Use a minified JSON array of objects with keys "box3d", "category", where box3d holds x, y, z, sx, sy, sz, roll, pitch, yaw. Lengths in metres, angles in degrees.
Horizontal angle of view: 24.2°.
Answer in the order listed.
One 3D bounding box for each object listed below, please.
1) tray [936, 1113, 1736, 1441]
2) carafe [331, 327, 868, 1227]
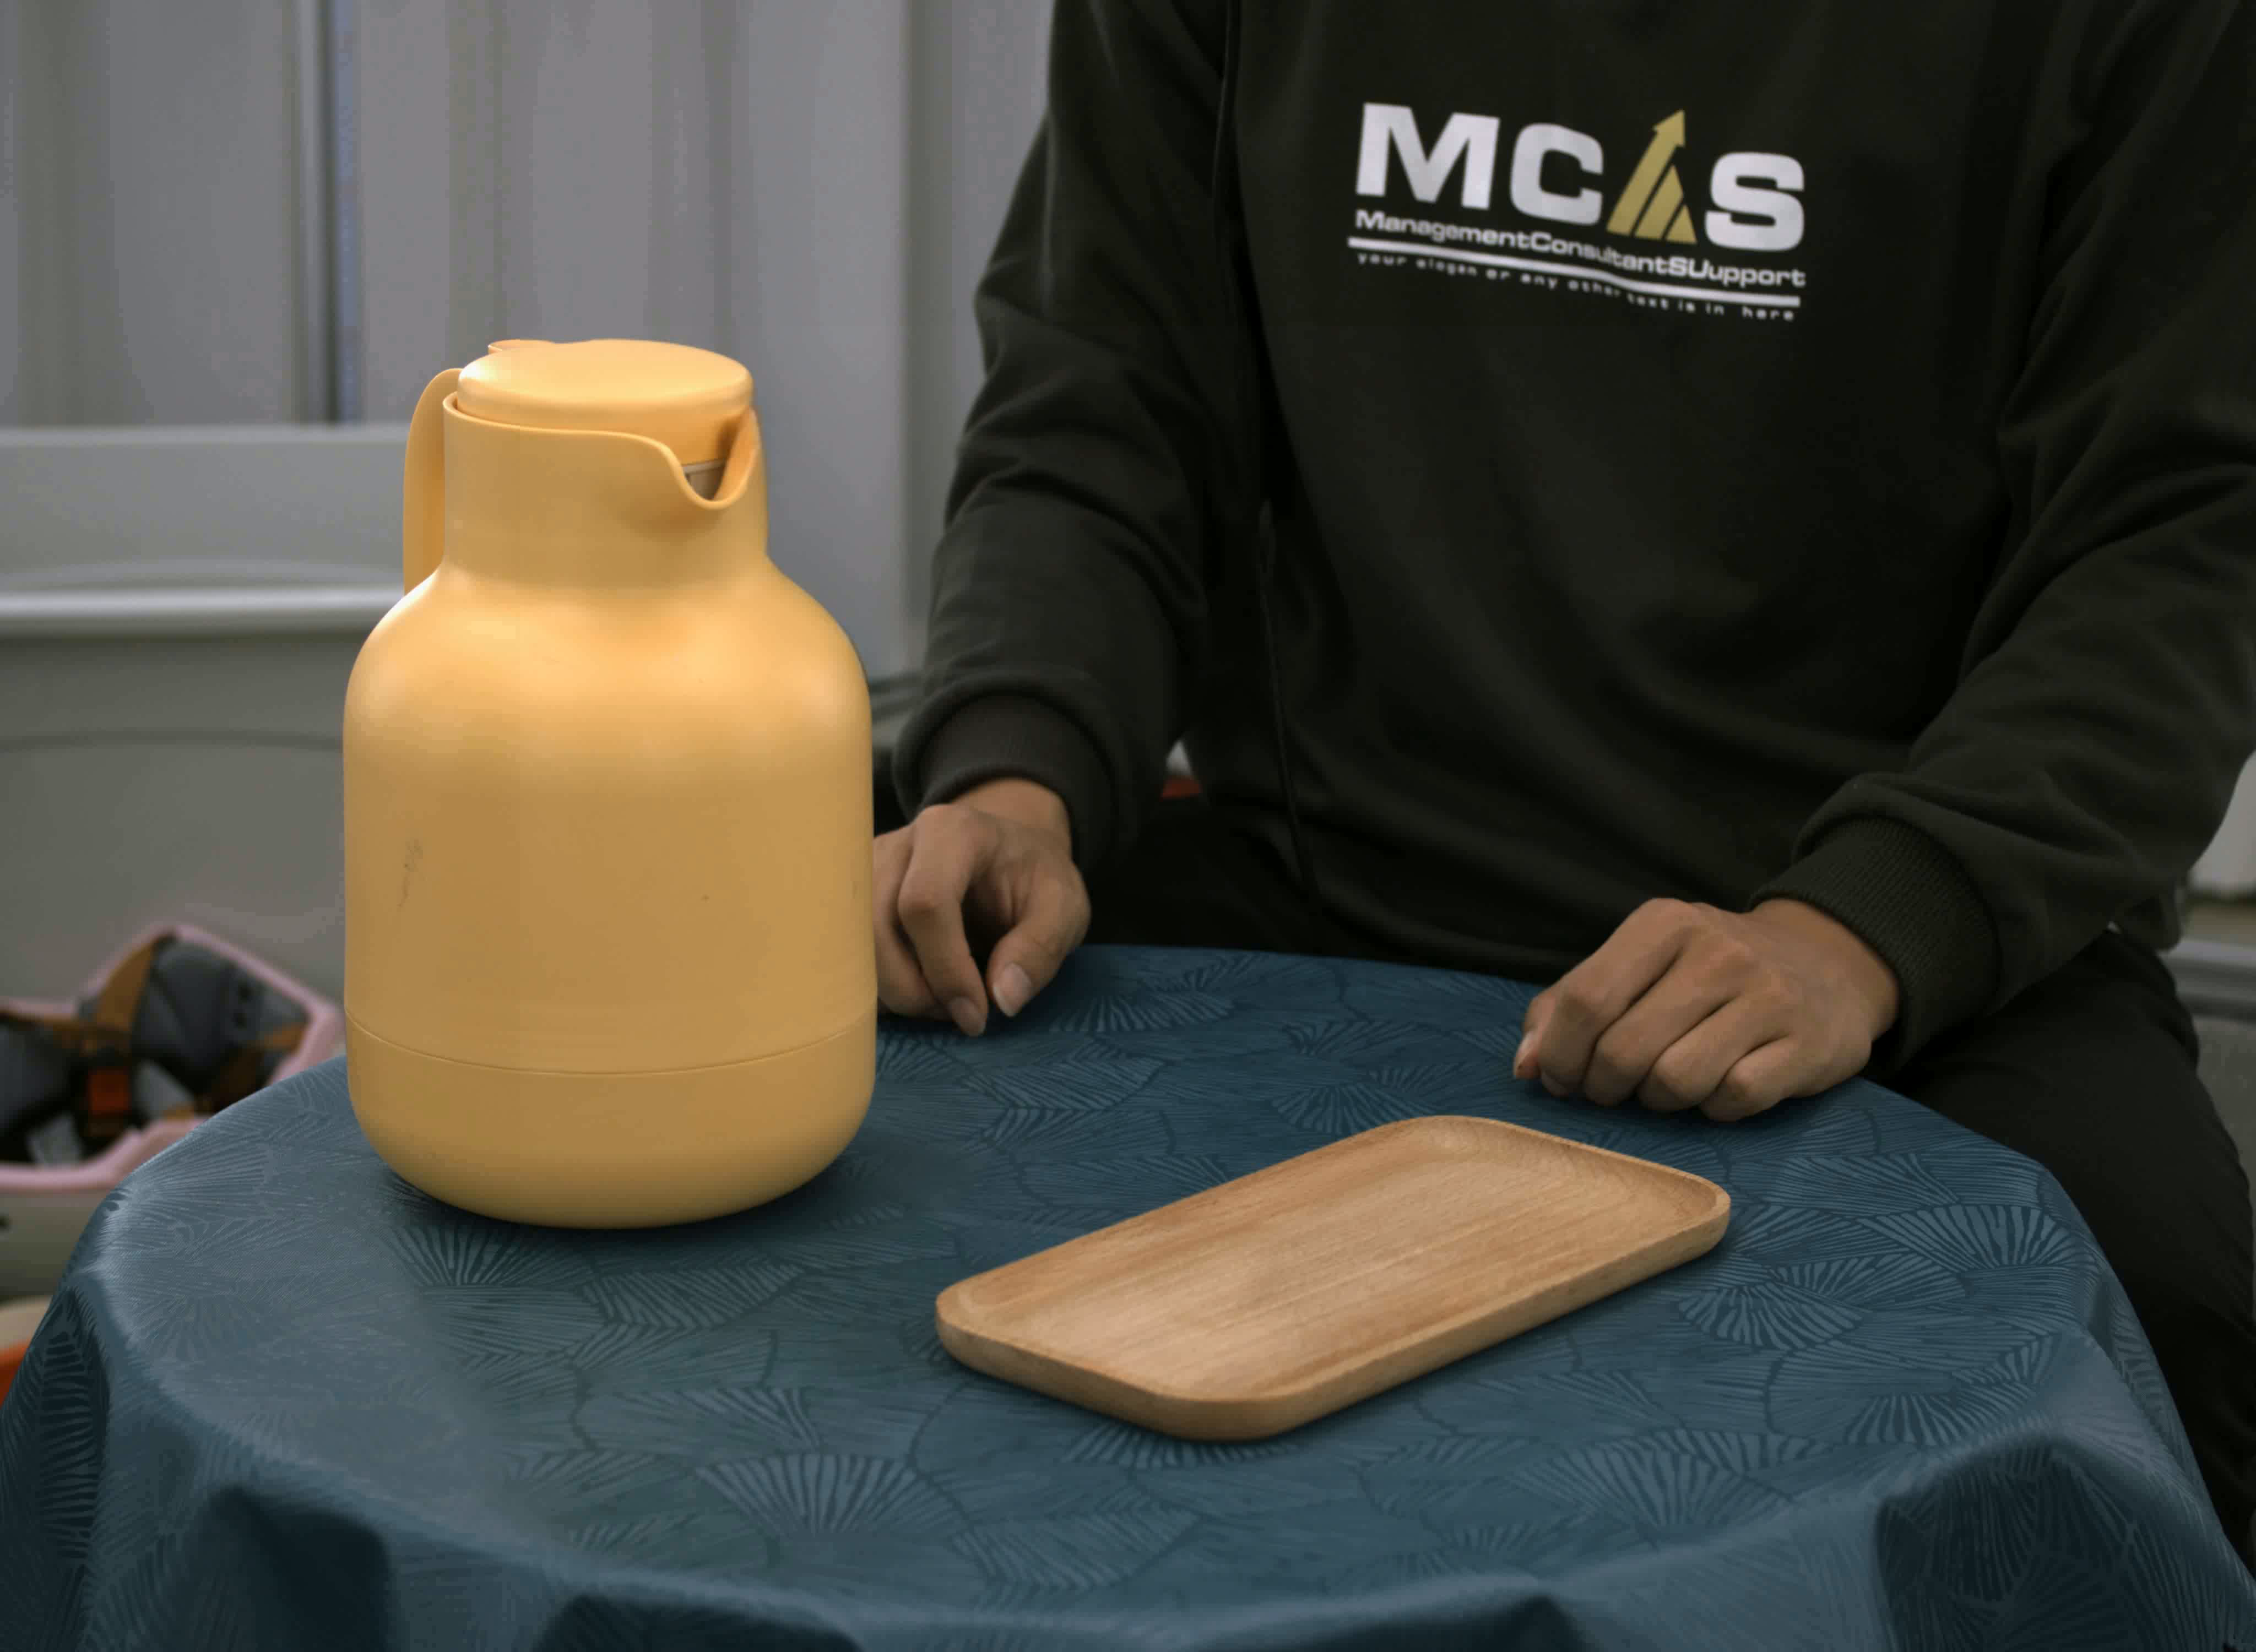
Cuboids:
[{"box3d":[0.064,0.129,1.542,0.129,0.023,0.252,17,21,39],"category":"tray"},{"box3d":[-0.168,-0.023,1.617,0.164,0.262,0.200,-5,18,-30],"category":"carafe"}]
